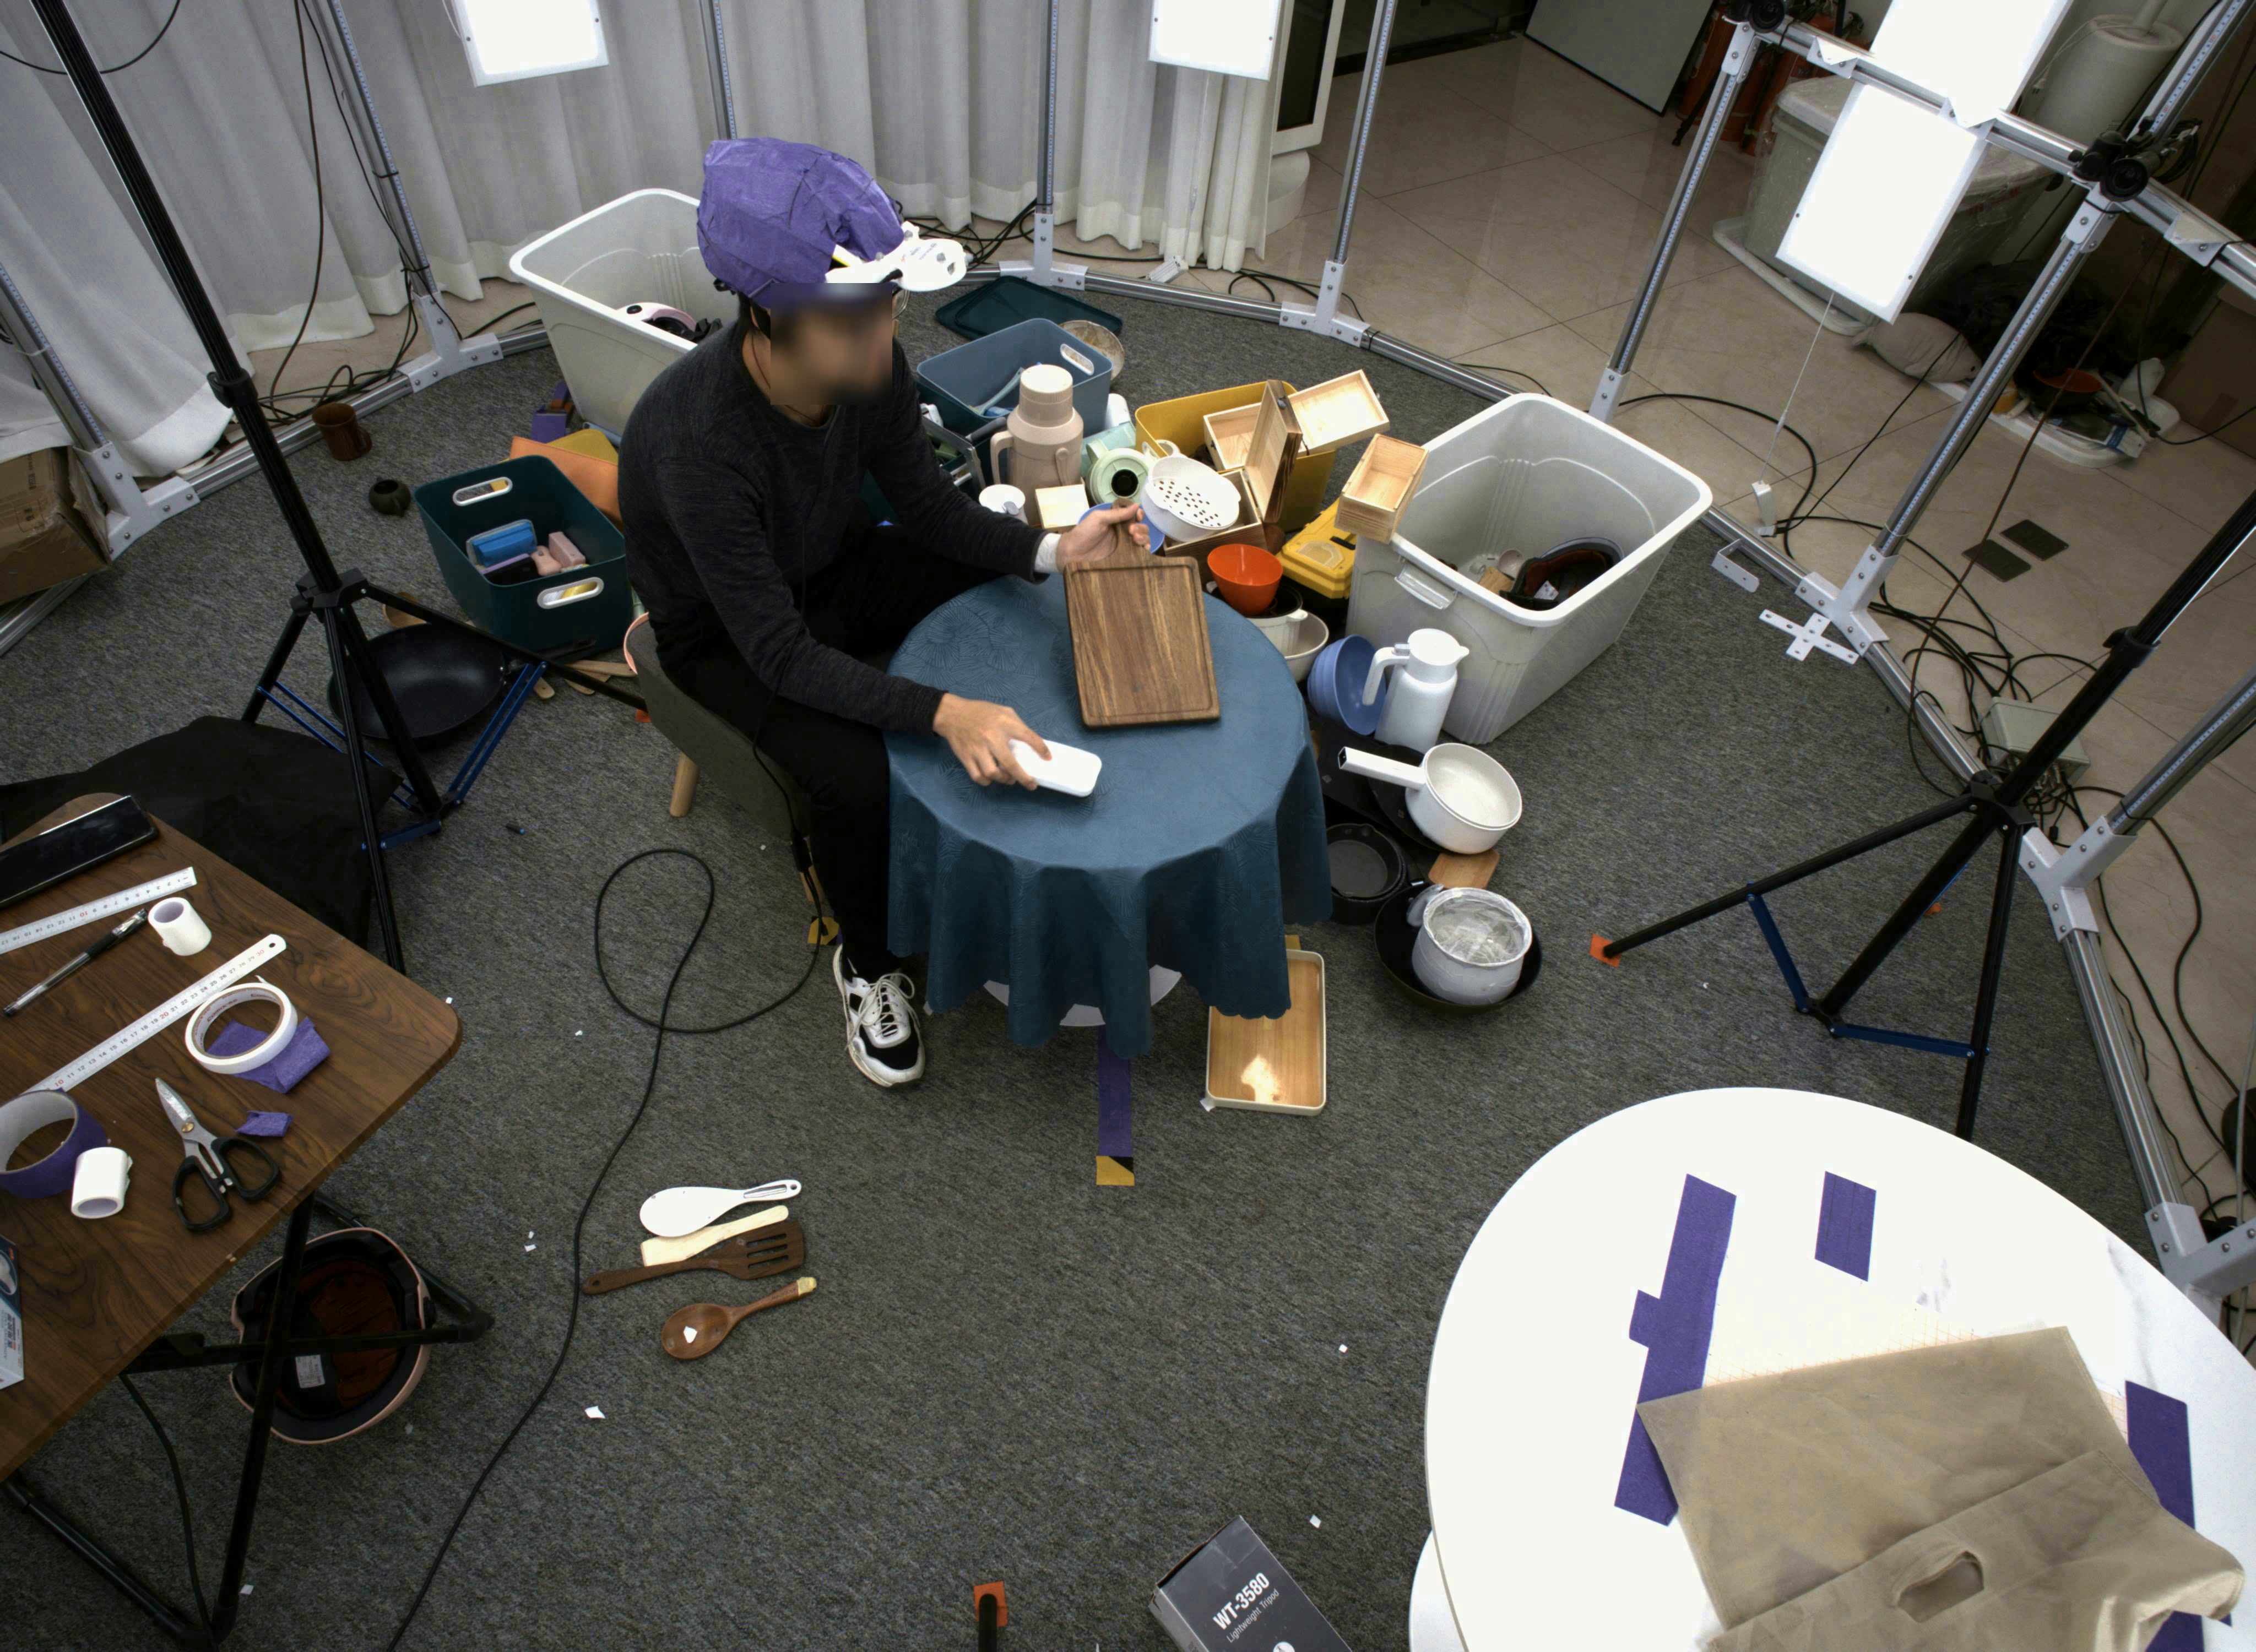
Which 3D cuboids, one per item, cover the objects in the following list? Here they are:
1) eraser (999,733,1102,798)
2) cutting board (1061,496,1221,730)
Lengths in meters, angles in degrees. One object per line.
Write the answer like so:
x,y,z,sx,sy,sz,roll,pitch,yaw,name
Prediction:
-0.102,-0.082,1.688,0.131,0.034,0.065,16,56,6,eraser
0.012,-0.311,1.837,0.201,0.023,0.357,-5,73,-9,cutting board
